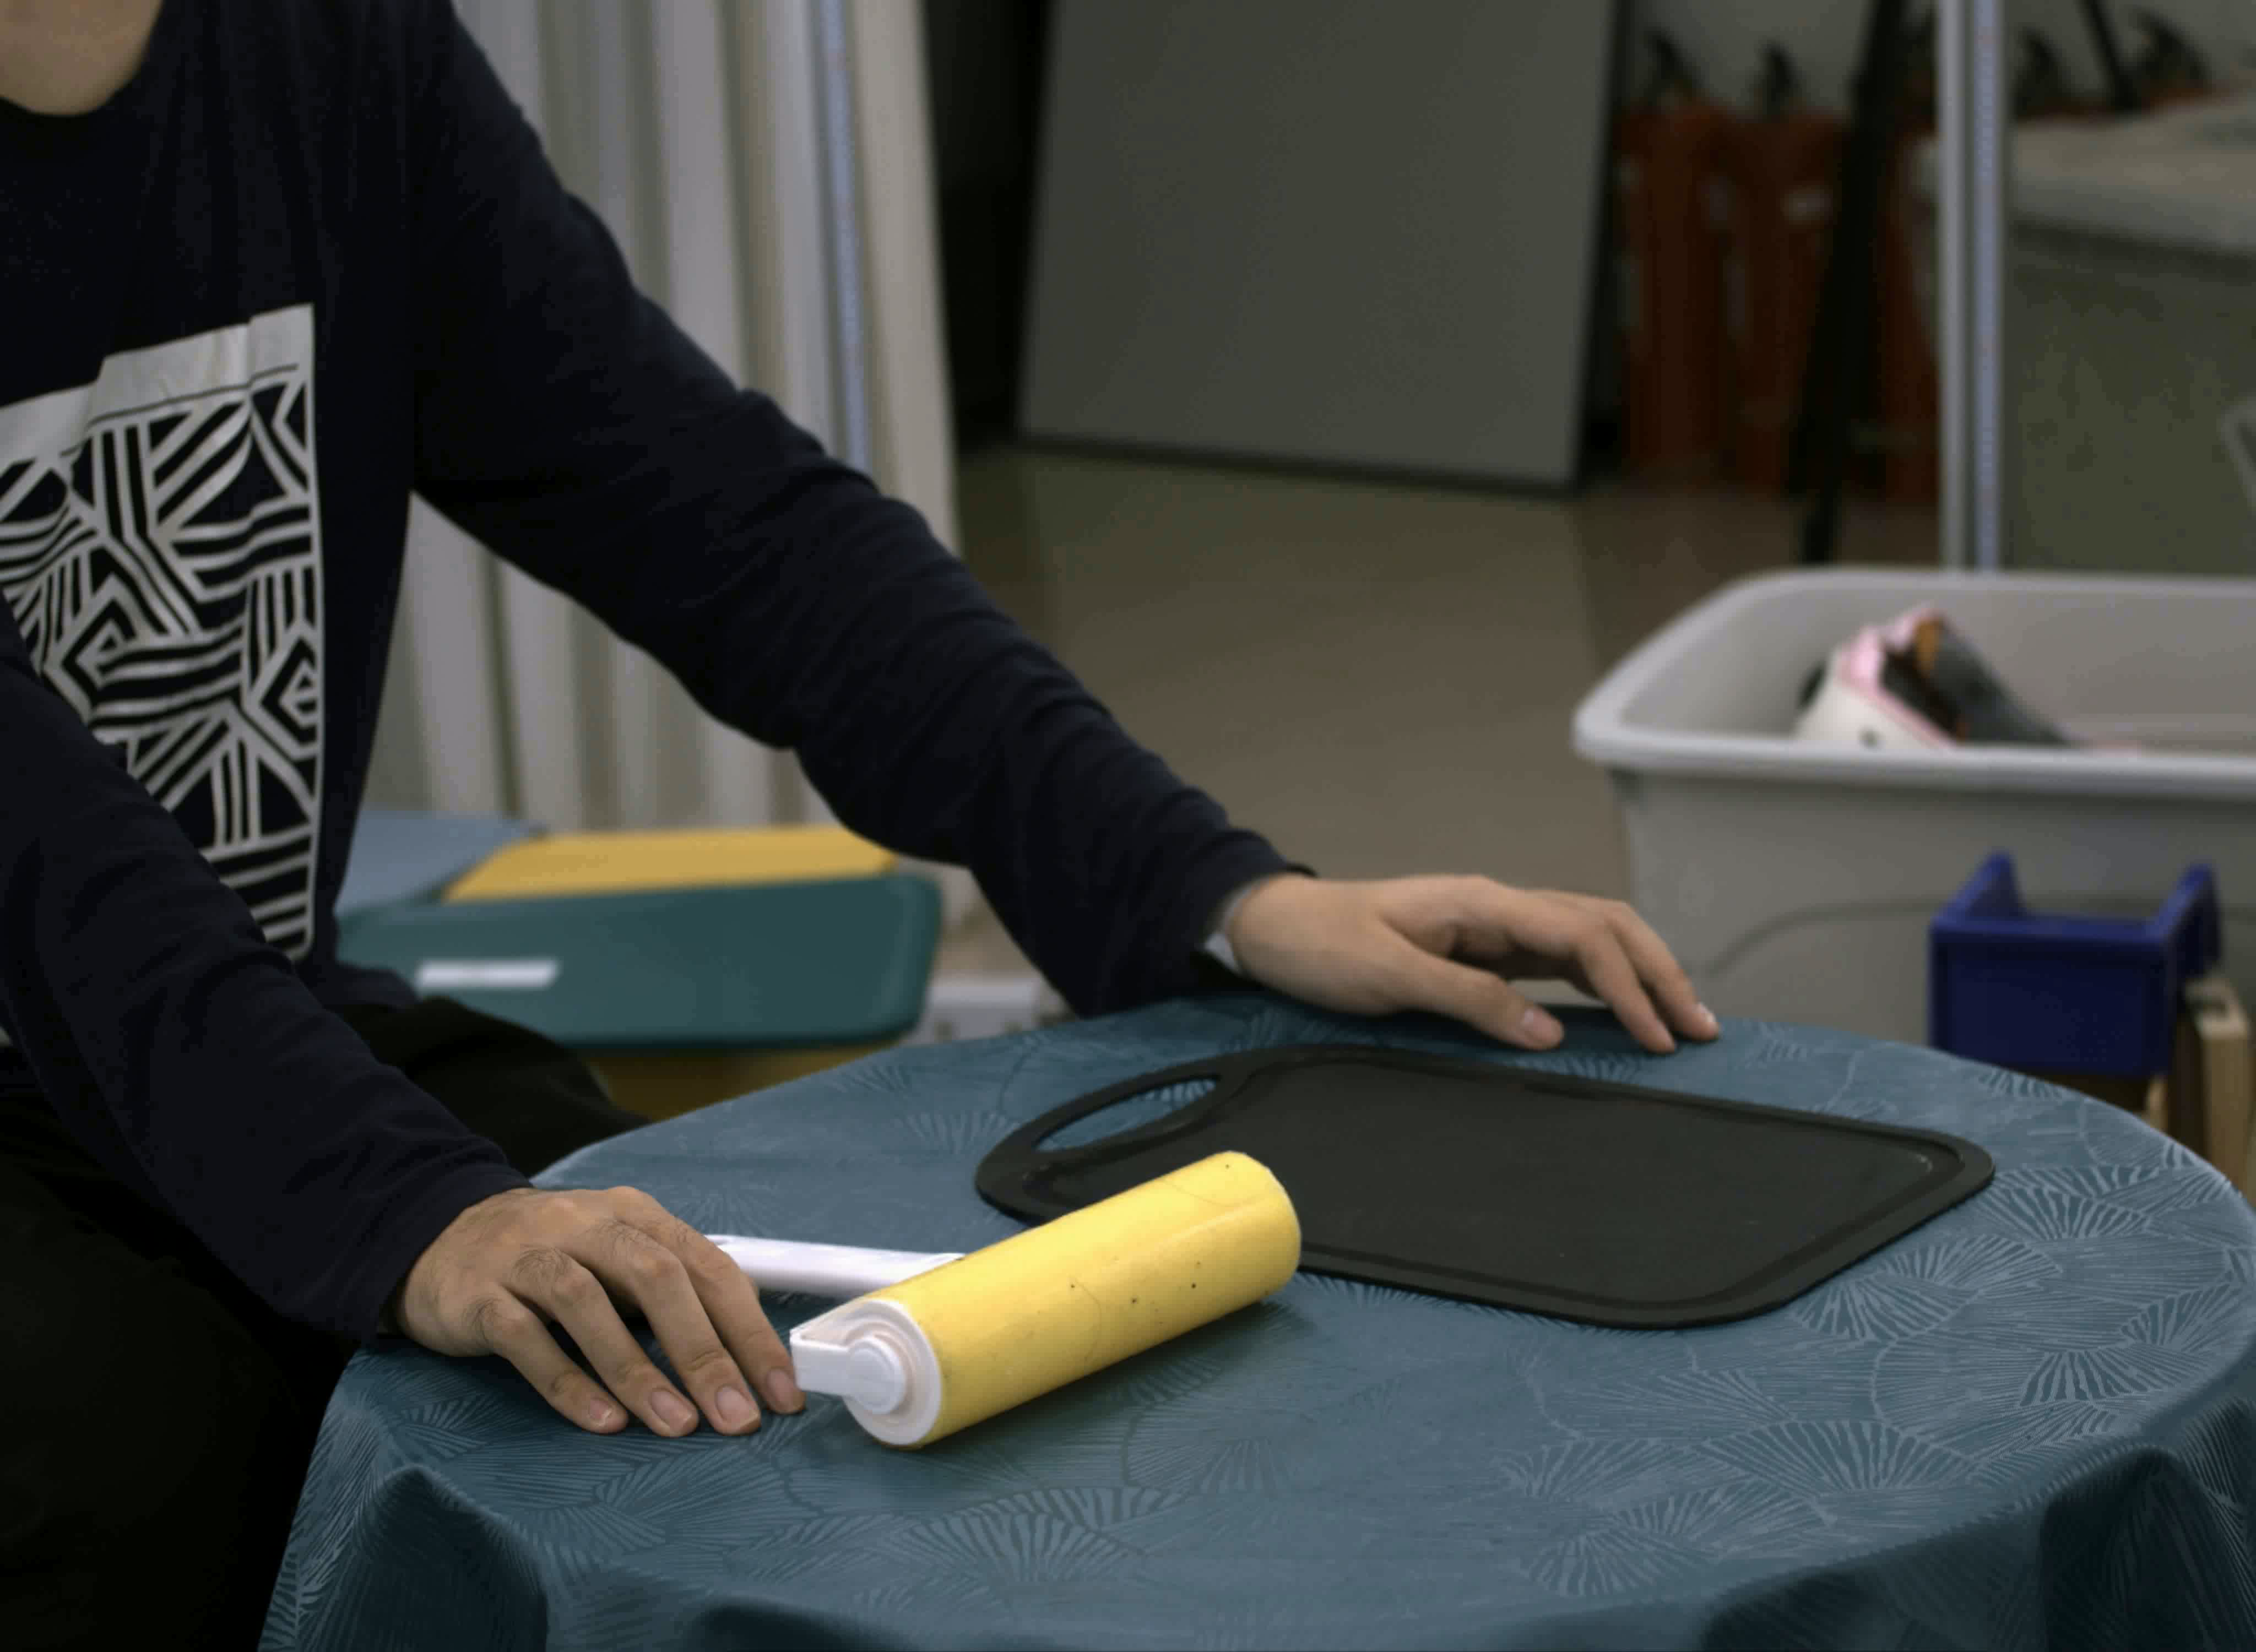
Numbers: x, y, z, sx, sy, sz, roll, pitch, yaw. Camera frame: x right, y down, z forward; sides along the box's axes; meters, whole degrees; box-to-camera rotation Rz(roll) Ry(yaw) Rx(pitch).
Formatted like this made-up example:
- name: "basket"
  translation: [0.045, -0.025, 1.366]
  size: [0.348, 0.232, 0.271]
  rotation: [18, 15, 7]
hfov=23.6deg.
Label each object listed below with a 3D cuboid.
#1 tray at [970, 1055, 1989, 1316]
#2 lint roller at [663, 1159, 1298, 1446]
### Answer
- name: "tray"
  translation: [0.106, 0.113, 1.765]
  size: [0.328, 0.010, 0.207]
  rotation: [6, 17, 39]
- name: "lint roller"
  translation: [-0.071, 0.132, 1.648]
  size: [0.193, 0.052, 0.171]
  rotation: [11, 19, 40]
